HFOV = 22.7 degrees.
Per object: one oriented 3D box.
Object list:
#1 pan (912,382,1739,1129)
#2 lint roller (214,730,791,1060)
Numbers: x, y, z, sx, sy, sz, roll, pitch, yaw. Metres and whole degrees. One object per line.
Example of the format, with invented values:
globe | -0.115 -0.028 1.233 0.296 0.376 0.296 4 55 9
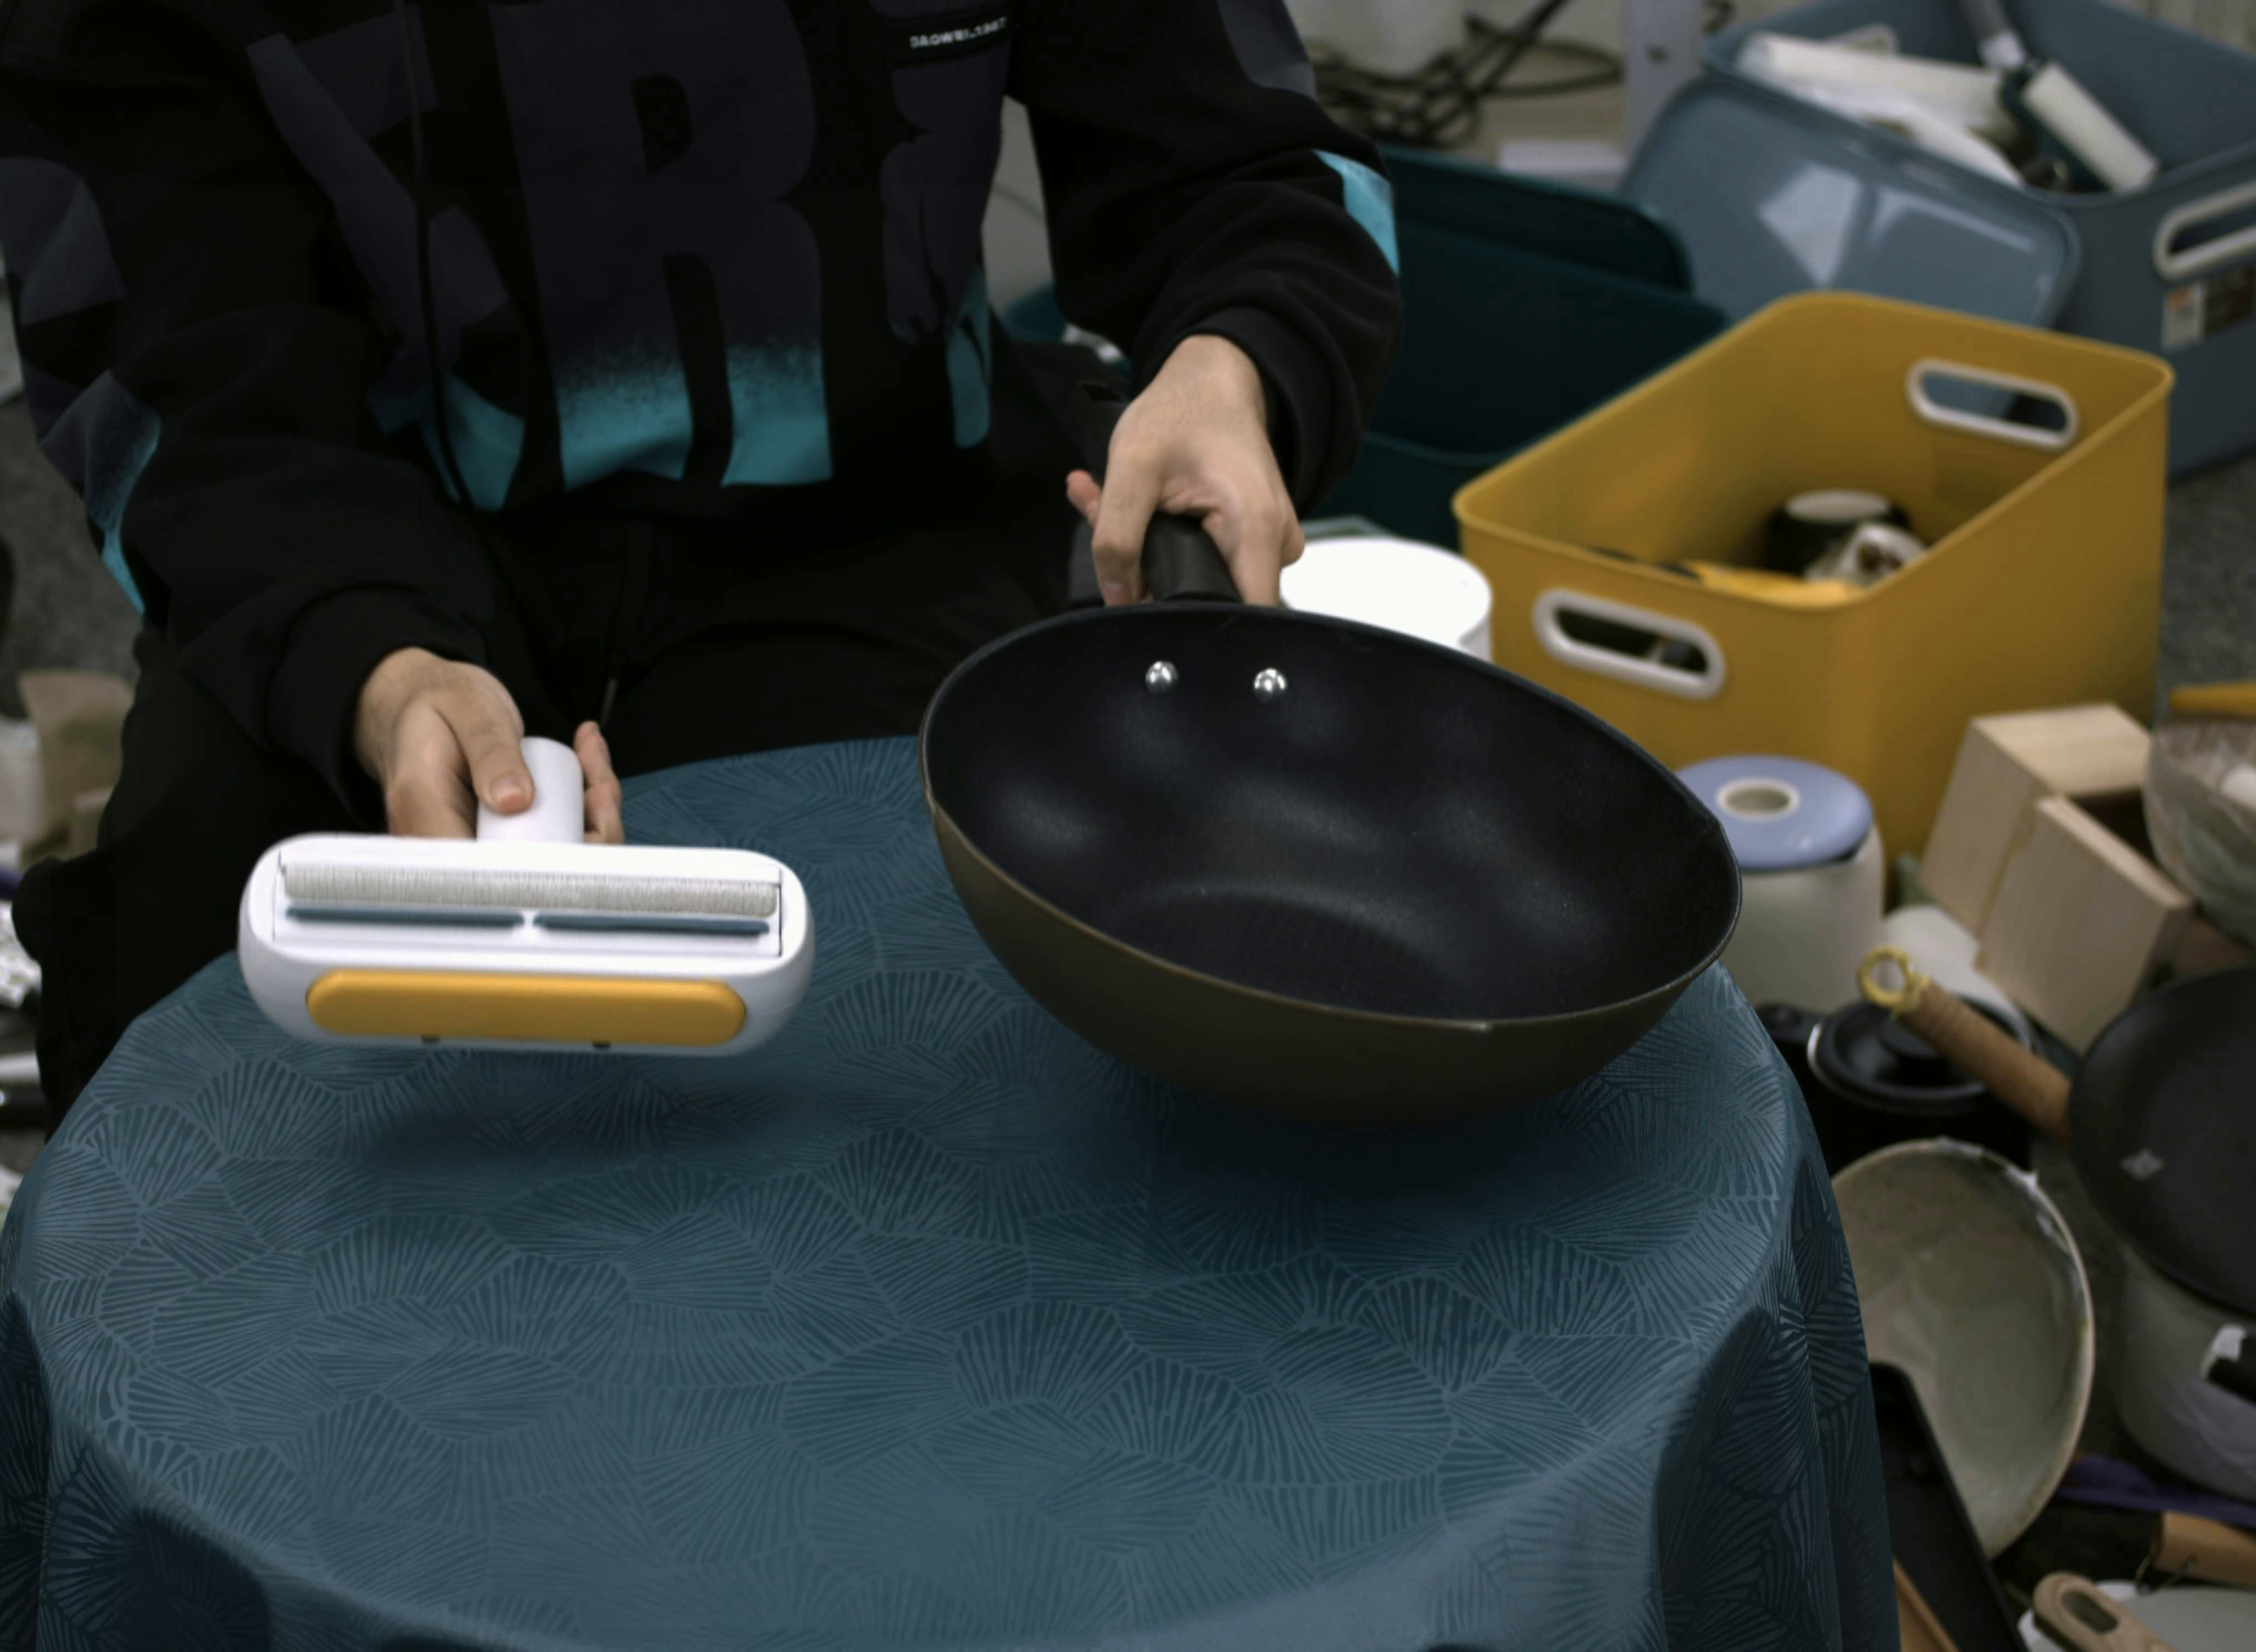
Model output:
pan | 0.037 -0.022 1.976 0.288 0.086 0.469 3 29 -19
lint roller | -0.210 0.011 1.940 0.192 0.073 0.196 2 34 -2
